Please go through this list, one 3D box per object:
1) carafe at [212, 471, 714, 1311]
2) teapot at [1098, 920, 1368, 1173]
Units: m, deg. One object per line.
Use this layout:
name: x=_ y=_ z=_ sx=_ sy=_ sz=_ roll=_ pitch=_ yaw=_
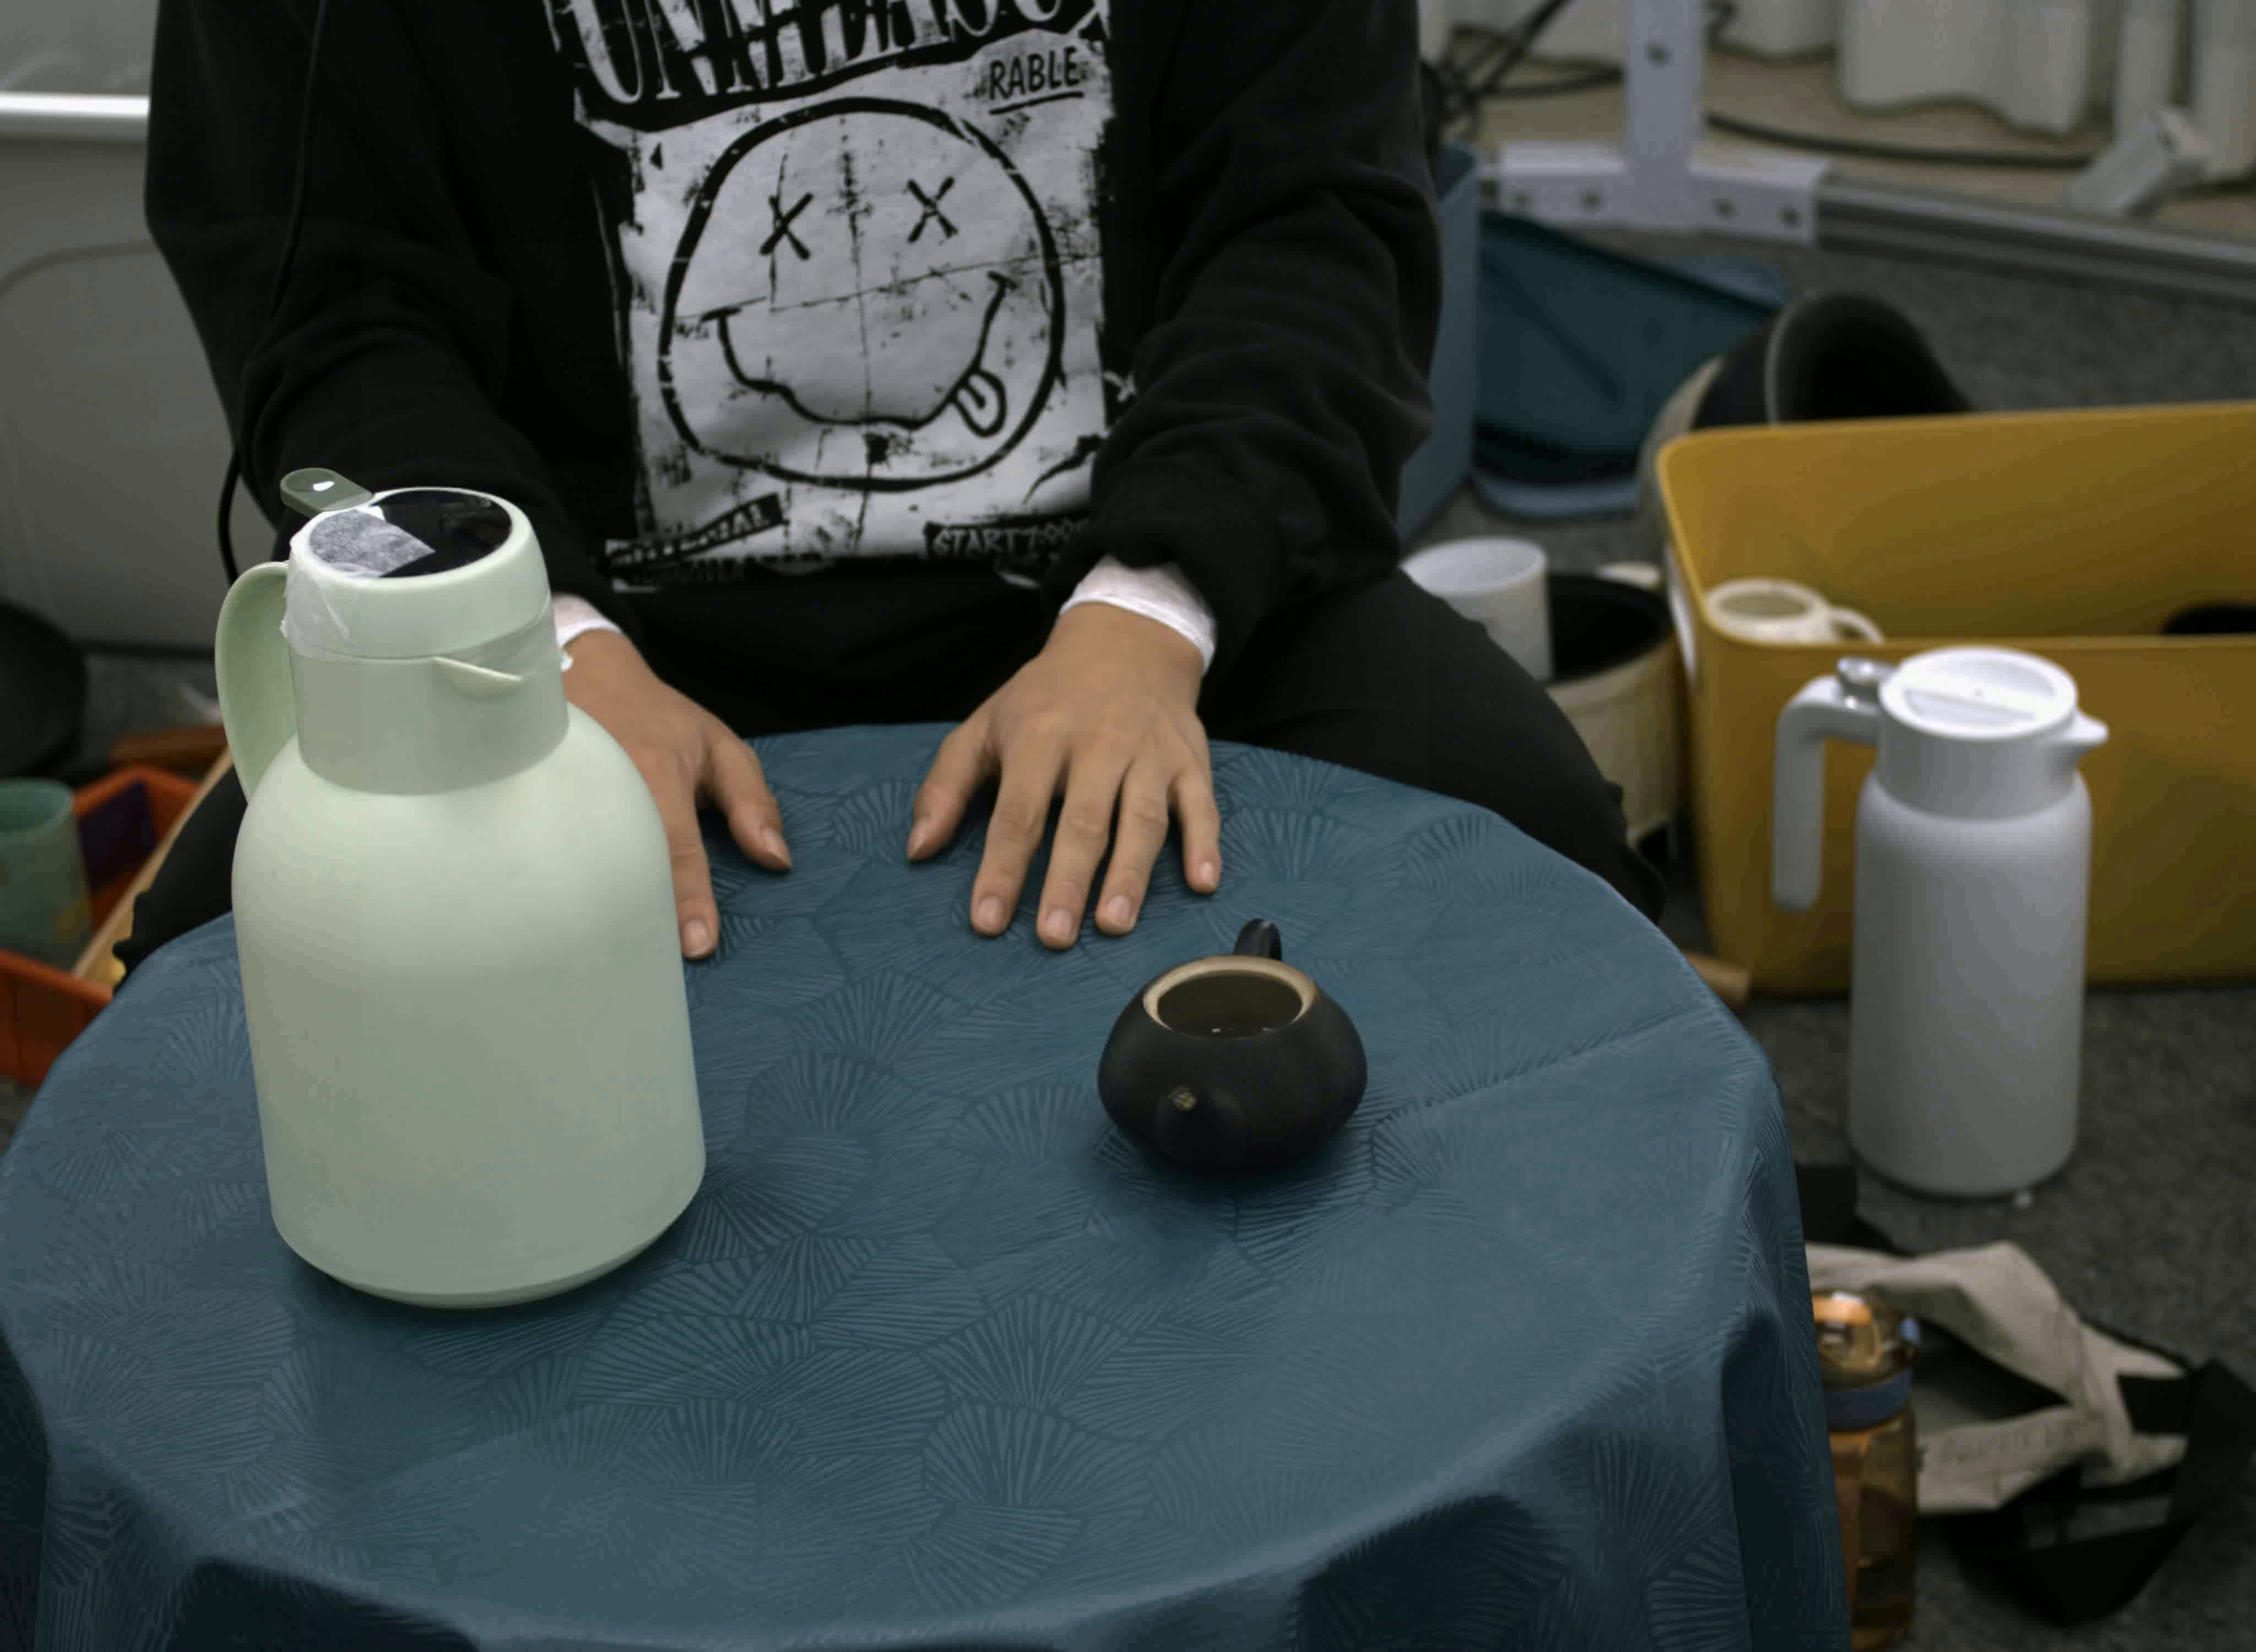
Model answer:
carafe: x=-0.227 y=0.014 z=1.820 sx=0.146 sy=0.254 sz=0.186 roll=-25 pitch=30 yaw=-36
teapot: x=0.035 y=0.080 z=1.879 sx=0.090 sy=0.052 sz=0.135 roll=5 pitch=28 yaw=12
